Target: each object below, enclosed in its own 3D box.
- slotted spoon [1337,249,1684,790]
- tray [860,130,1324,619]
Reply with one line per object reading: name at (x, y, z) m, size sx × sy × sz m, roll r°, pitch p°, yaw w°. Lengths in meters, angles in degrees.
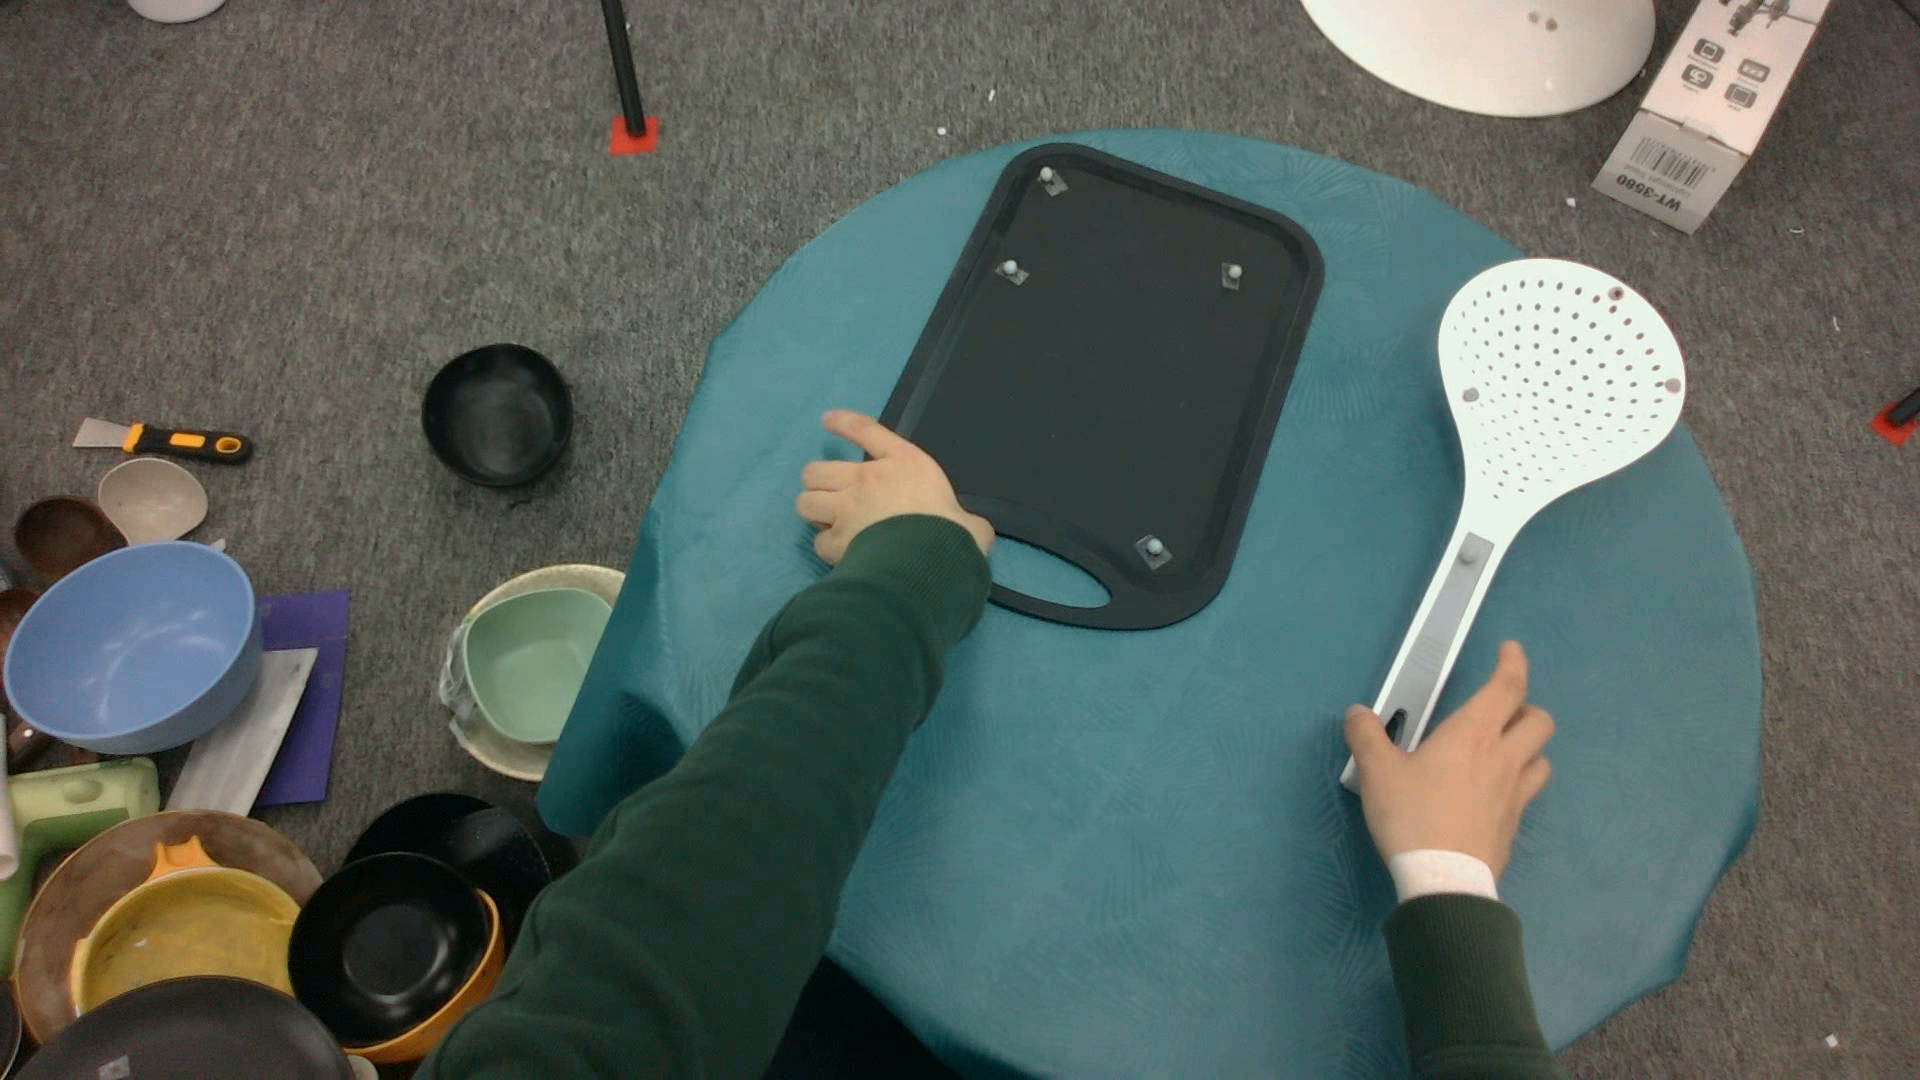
slotted spoon at (0.284, -0.019, 0.742) m, size 0.136 × 0.045 × 0.351 m, roll 27°, pitch 64°, yaw 12°
tray at (0.081, -0.104, 0.791) m, size 0.211 × 0.010 × 0.327 m, roll 21°, pitch 62°, yaw 6°
